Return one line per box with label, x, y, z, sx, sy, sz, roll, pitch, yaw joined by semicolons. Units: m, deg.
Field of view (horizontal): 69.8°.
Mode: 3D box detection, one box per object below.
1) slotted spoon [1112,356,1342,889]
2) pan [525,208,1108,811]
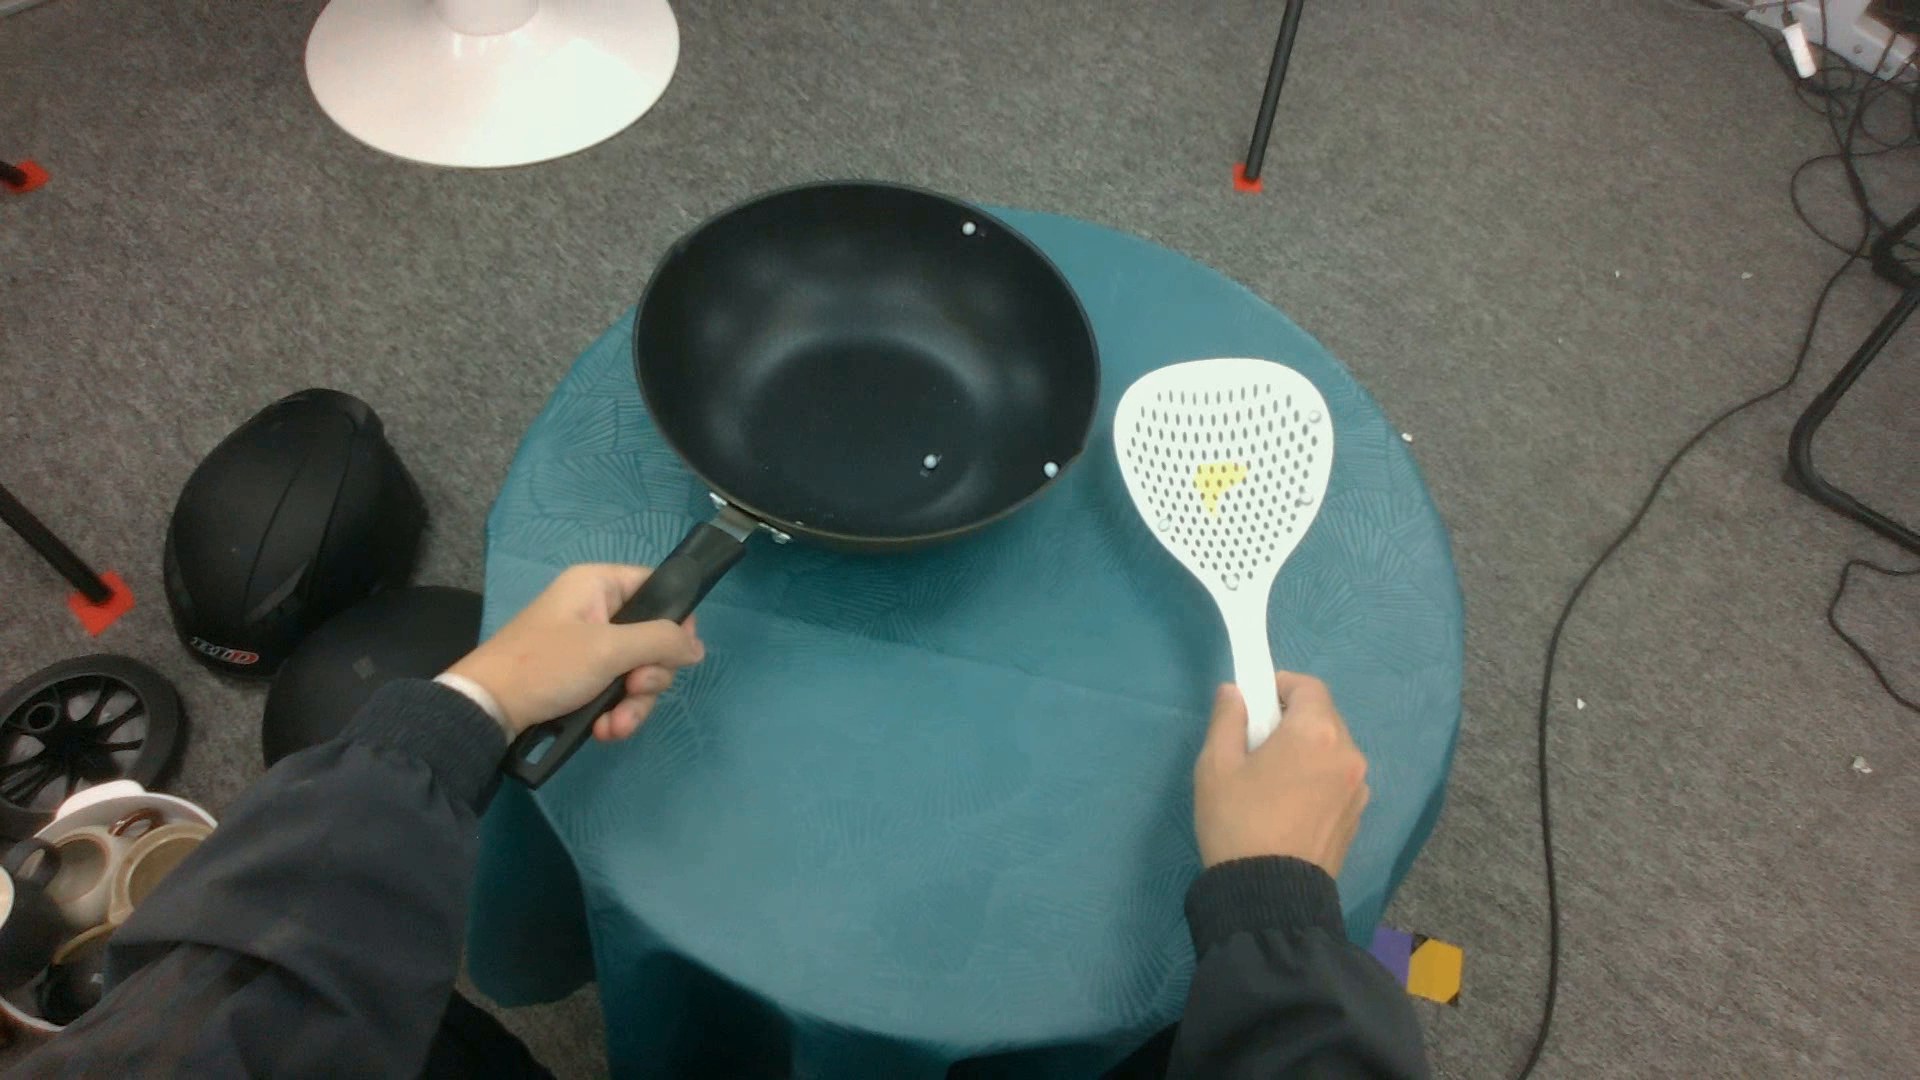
slotted spoon;0.175;0.033;0.819;0.137;0.050;0.349;-7;53;4
pan;-0.094;-0.017;0.826;0.288;0.086;0.465;25;58;12
